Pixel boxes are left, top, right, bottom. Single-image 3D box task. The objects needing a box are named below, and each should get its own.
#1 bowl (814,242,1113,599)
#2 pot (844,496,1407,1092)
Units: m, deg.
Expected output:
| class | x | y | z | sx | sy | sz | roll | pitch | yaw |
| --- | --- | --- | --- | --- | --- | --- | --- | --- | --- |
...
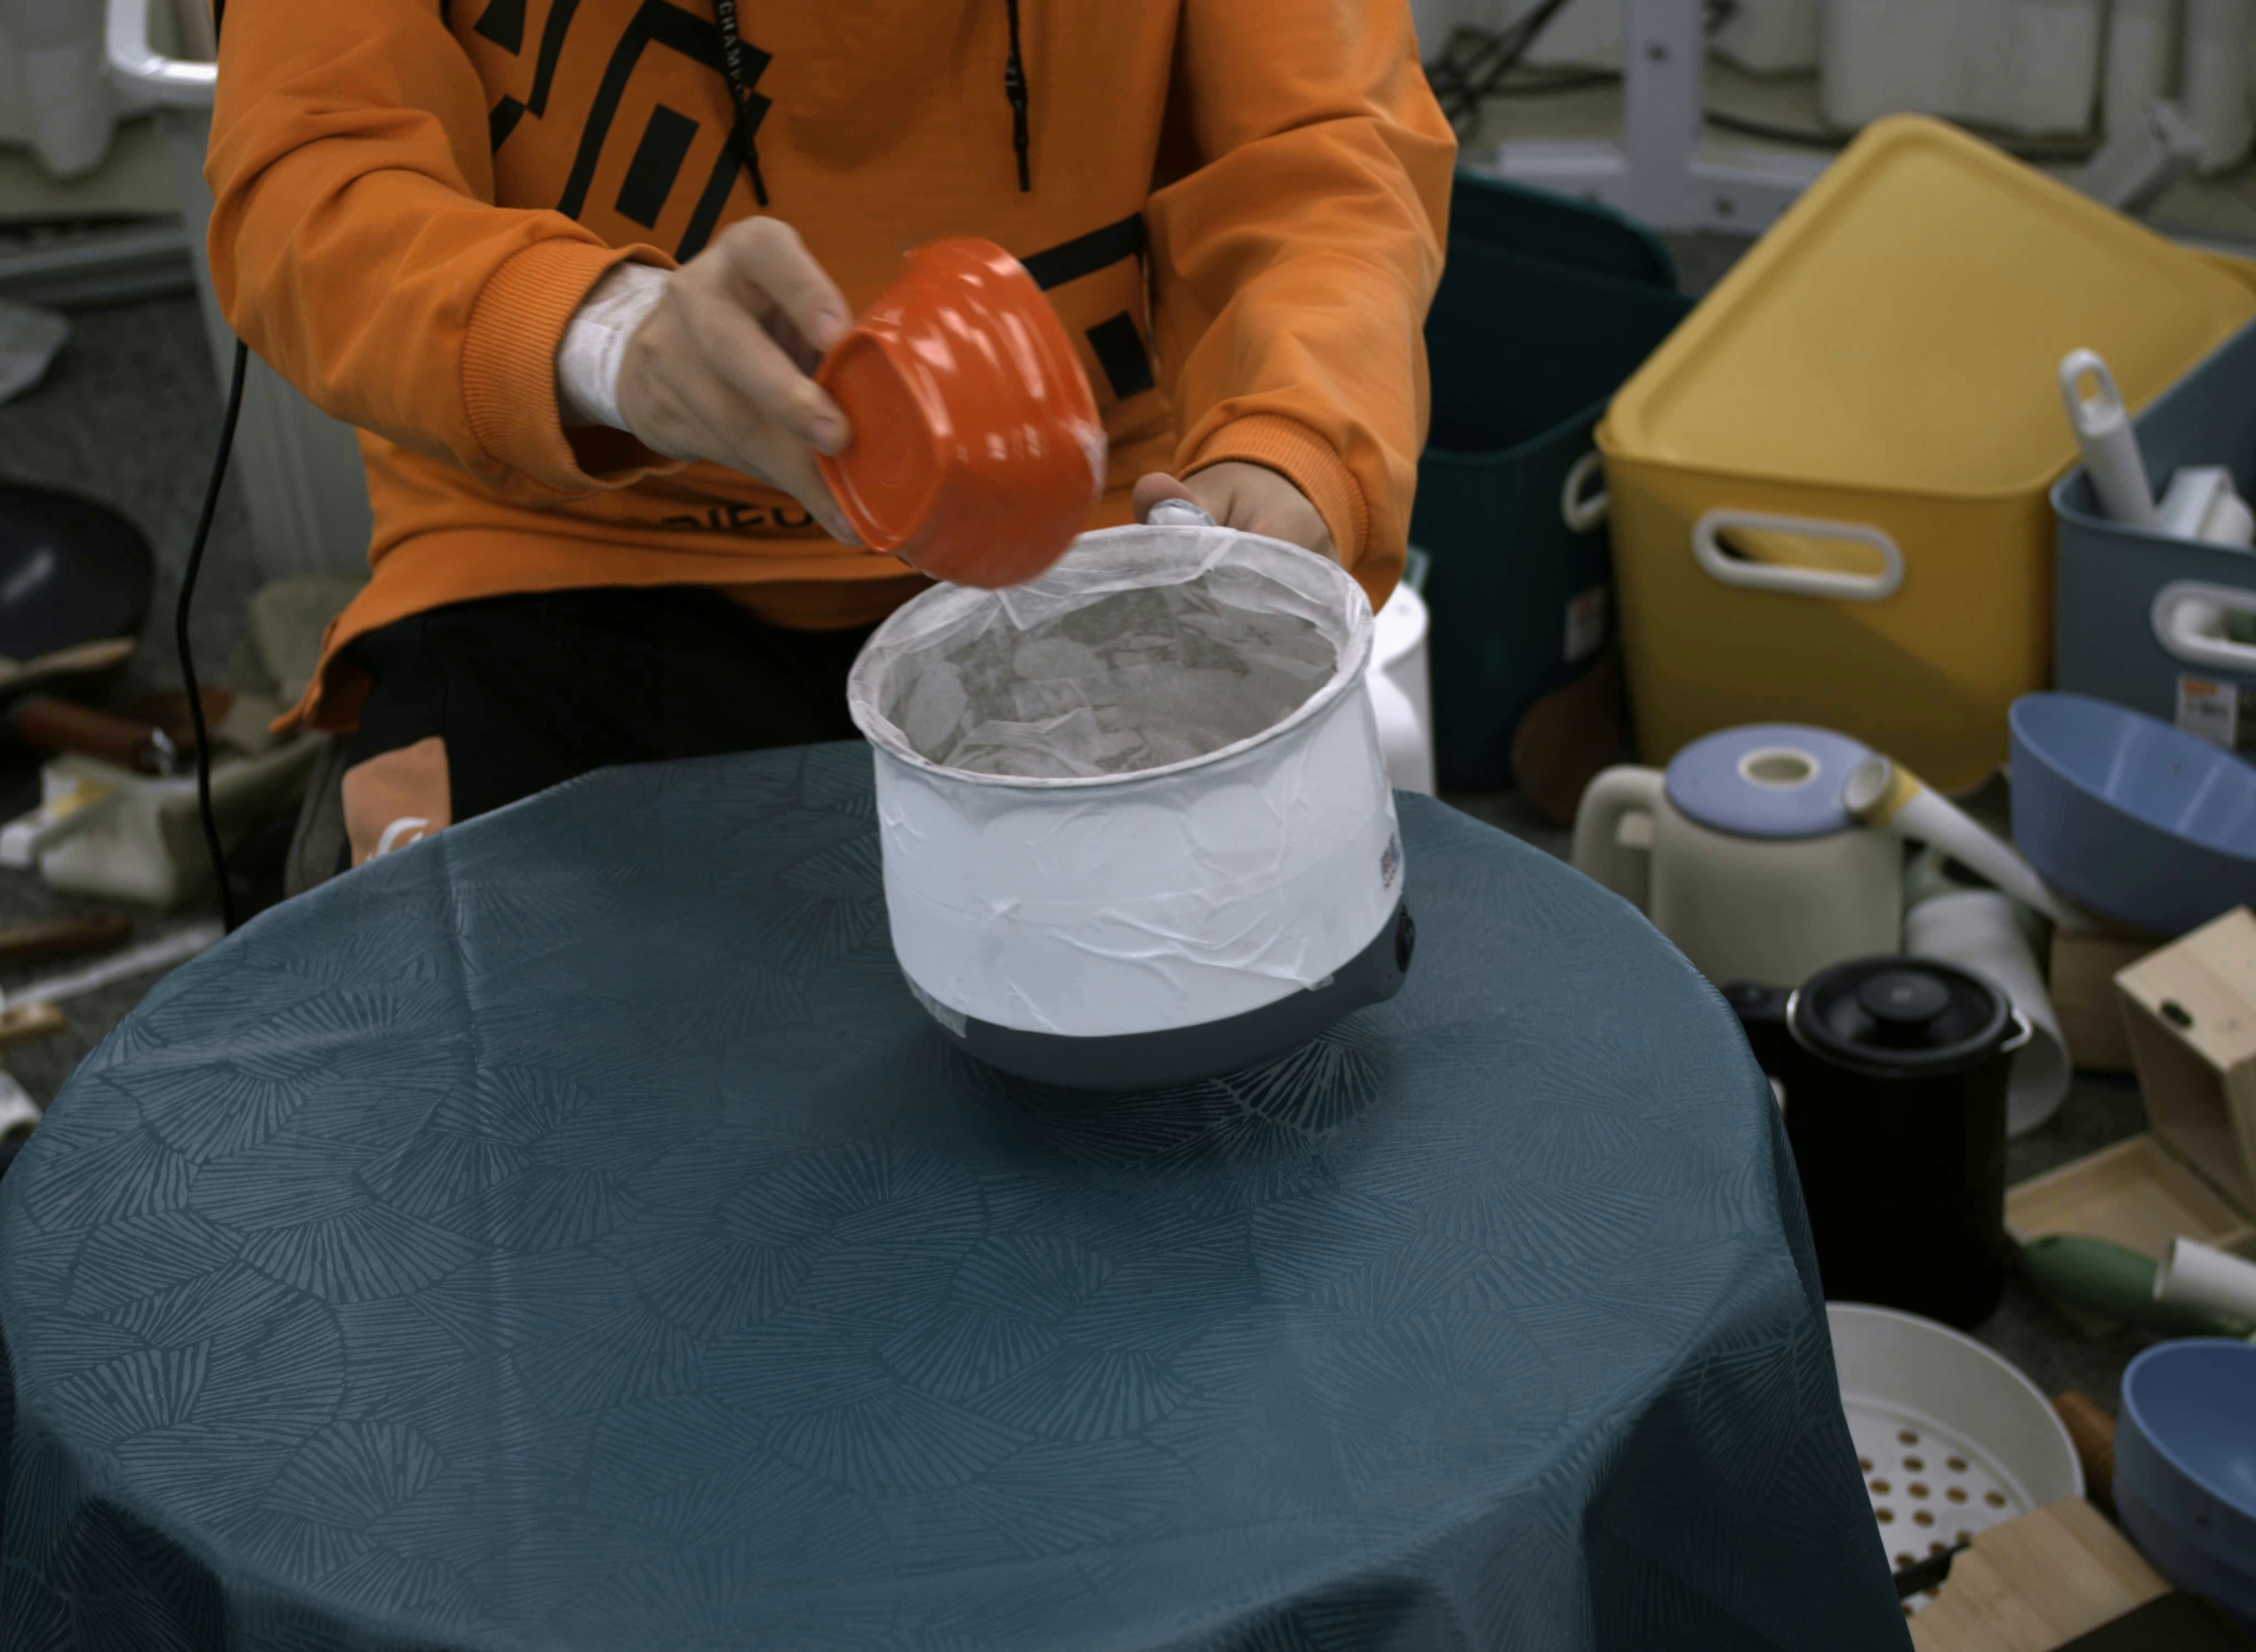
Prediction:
| class | x | y | z | sx | sy | sz | roll | pitch | yaw |
| --- | --- | --- | --- | --- | --- | --- | --- | --- | --- |
| bowl | -0.061 | -0.128 | 1.841 | 0.052 | 0.118 | 0.119 | -14 | 28 | -37 |
| pot | 0.006 | -0.018 | 1.921 | 0.177 | 0.135 | 0.238 | -1 | 30 | 13 |
